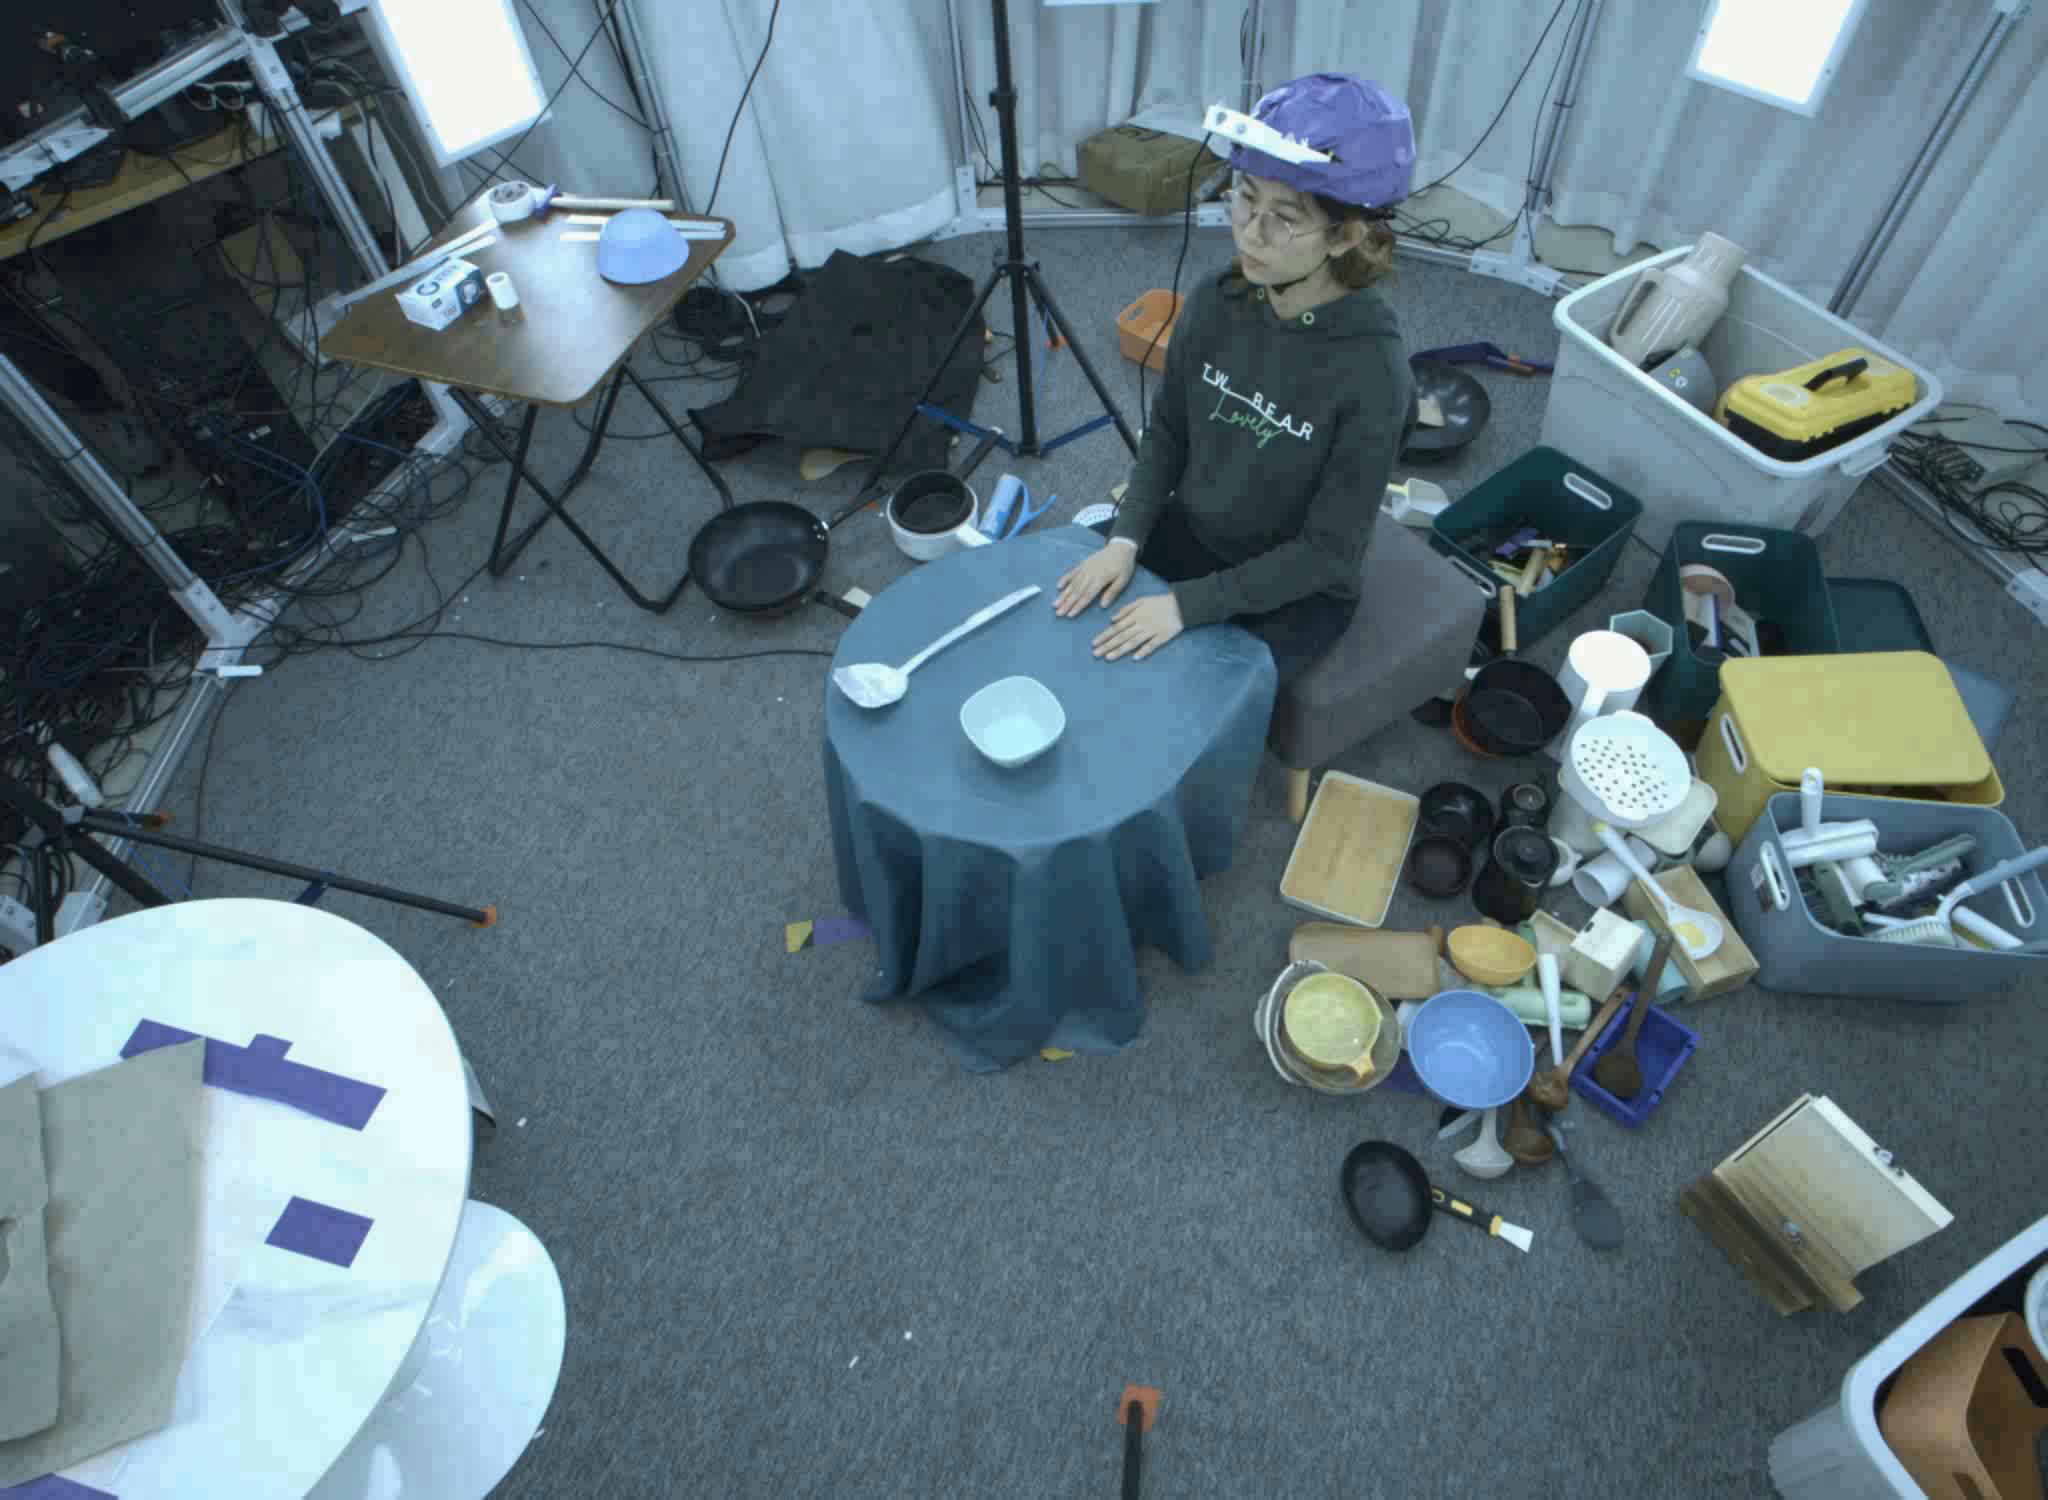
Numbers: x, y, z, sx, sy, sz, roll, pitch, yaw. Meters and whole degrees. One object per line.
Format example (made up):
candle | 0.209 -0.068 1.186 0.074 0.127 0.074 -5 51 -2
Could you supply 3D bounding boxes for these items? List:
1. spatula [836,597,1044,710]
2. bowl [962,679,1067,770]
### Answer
spatula | -0.121 -0.164 1.893 0.368 0.045 0.097 -34 58 -20
bowl | -0.013 -0.026 1.784 0.151 0.059 0.150 0 56 1
